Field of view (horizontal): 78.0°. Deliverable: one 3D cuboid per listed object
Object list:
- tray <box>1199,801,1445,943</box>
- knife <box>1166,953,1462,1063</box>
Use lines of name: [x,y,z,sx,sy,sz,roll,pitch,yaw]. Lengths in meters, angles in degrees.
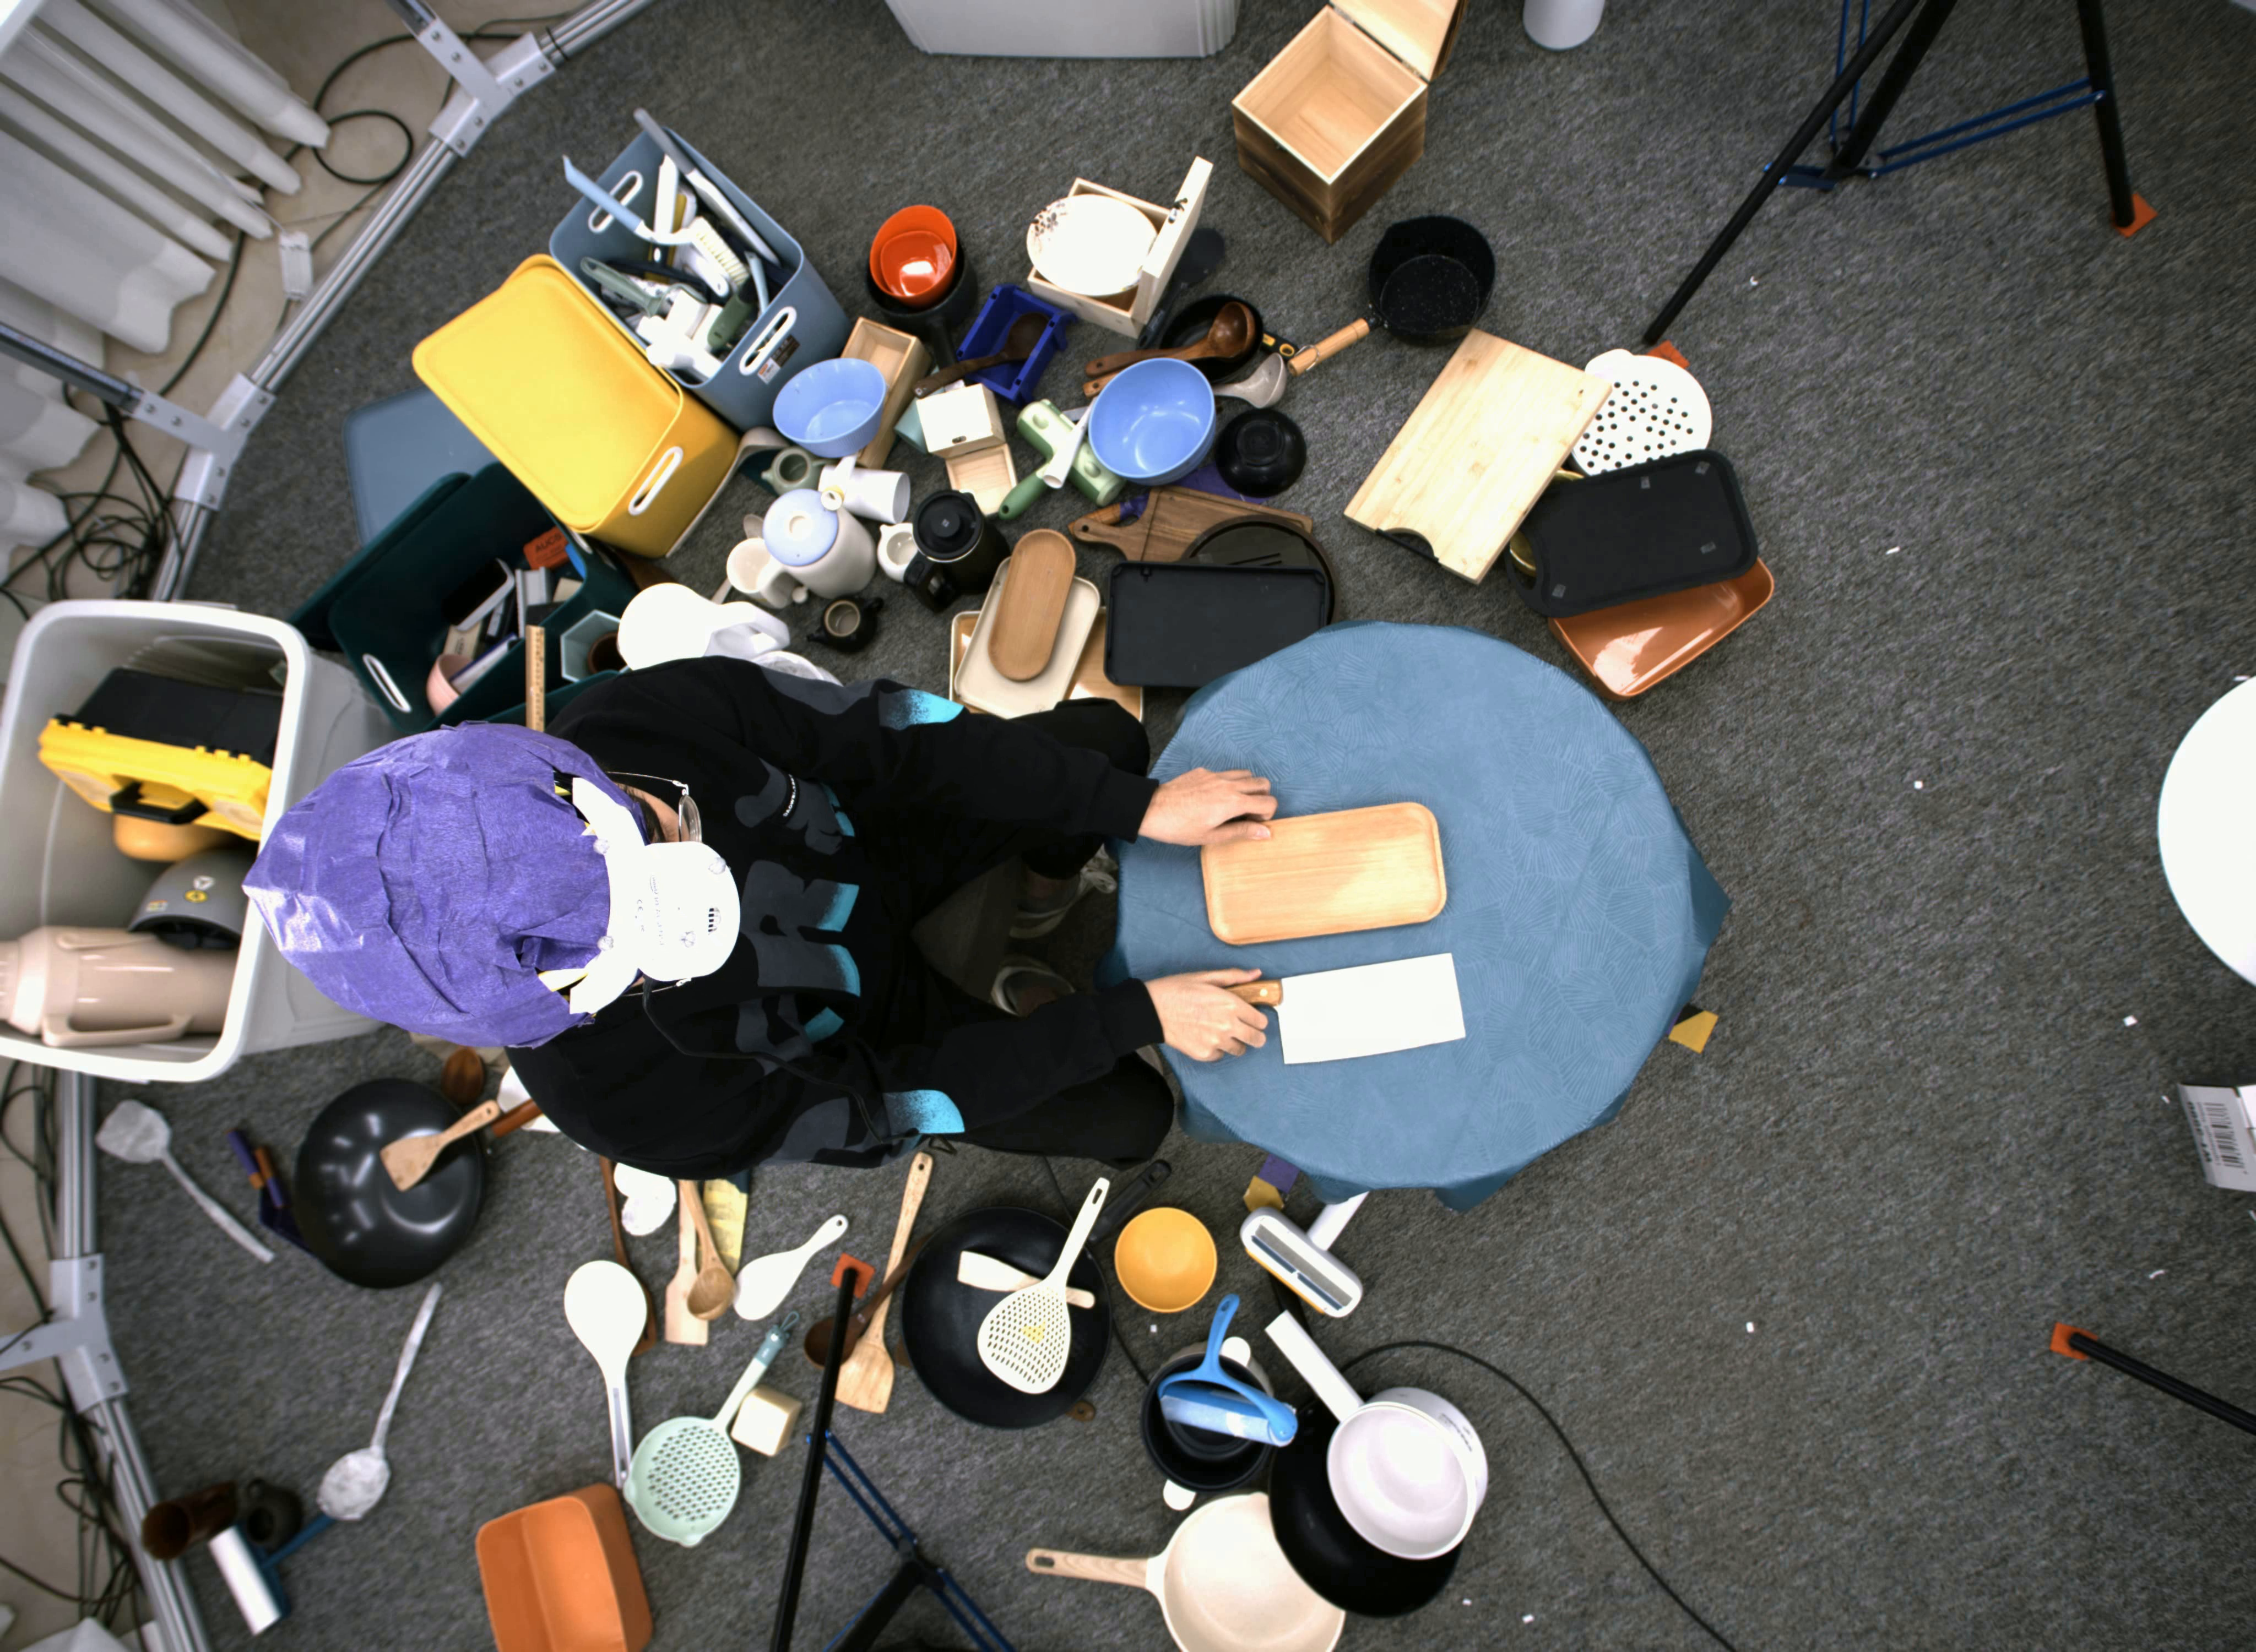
tray: [0.204,0.049,1.459,0.252,0.023,0.130,-7,90,11]
knife: [0.195,0.198,1.459,0.307,0.021,0.092,-10,86,7]
